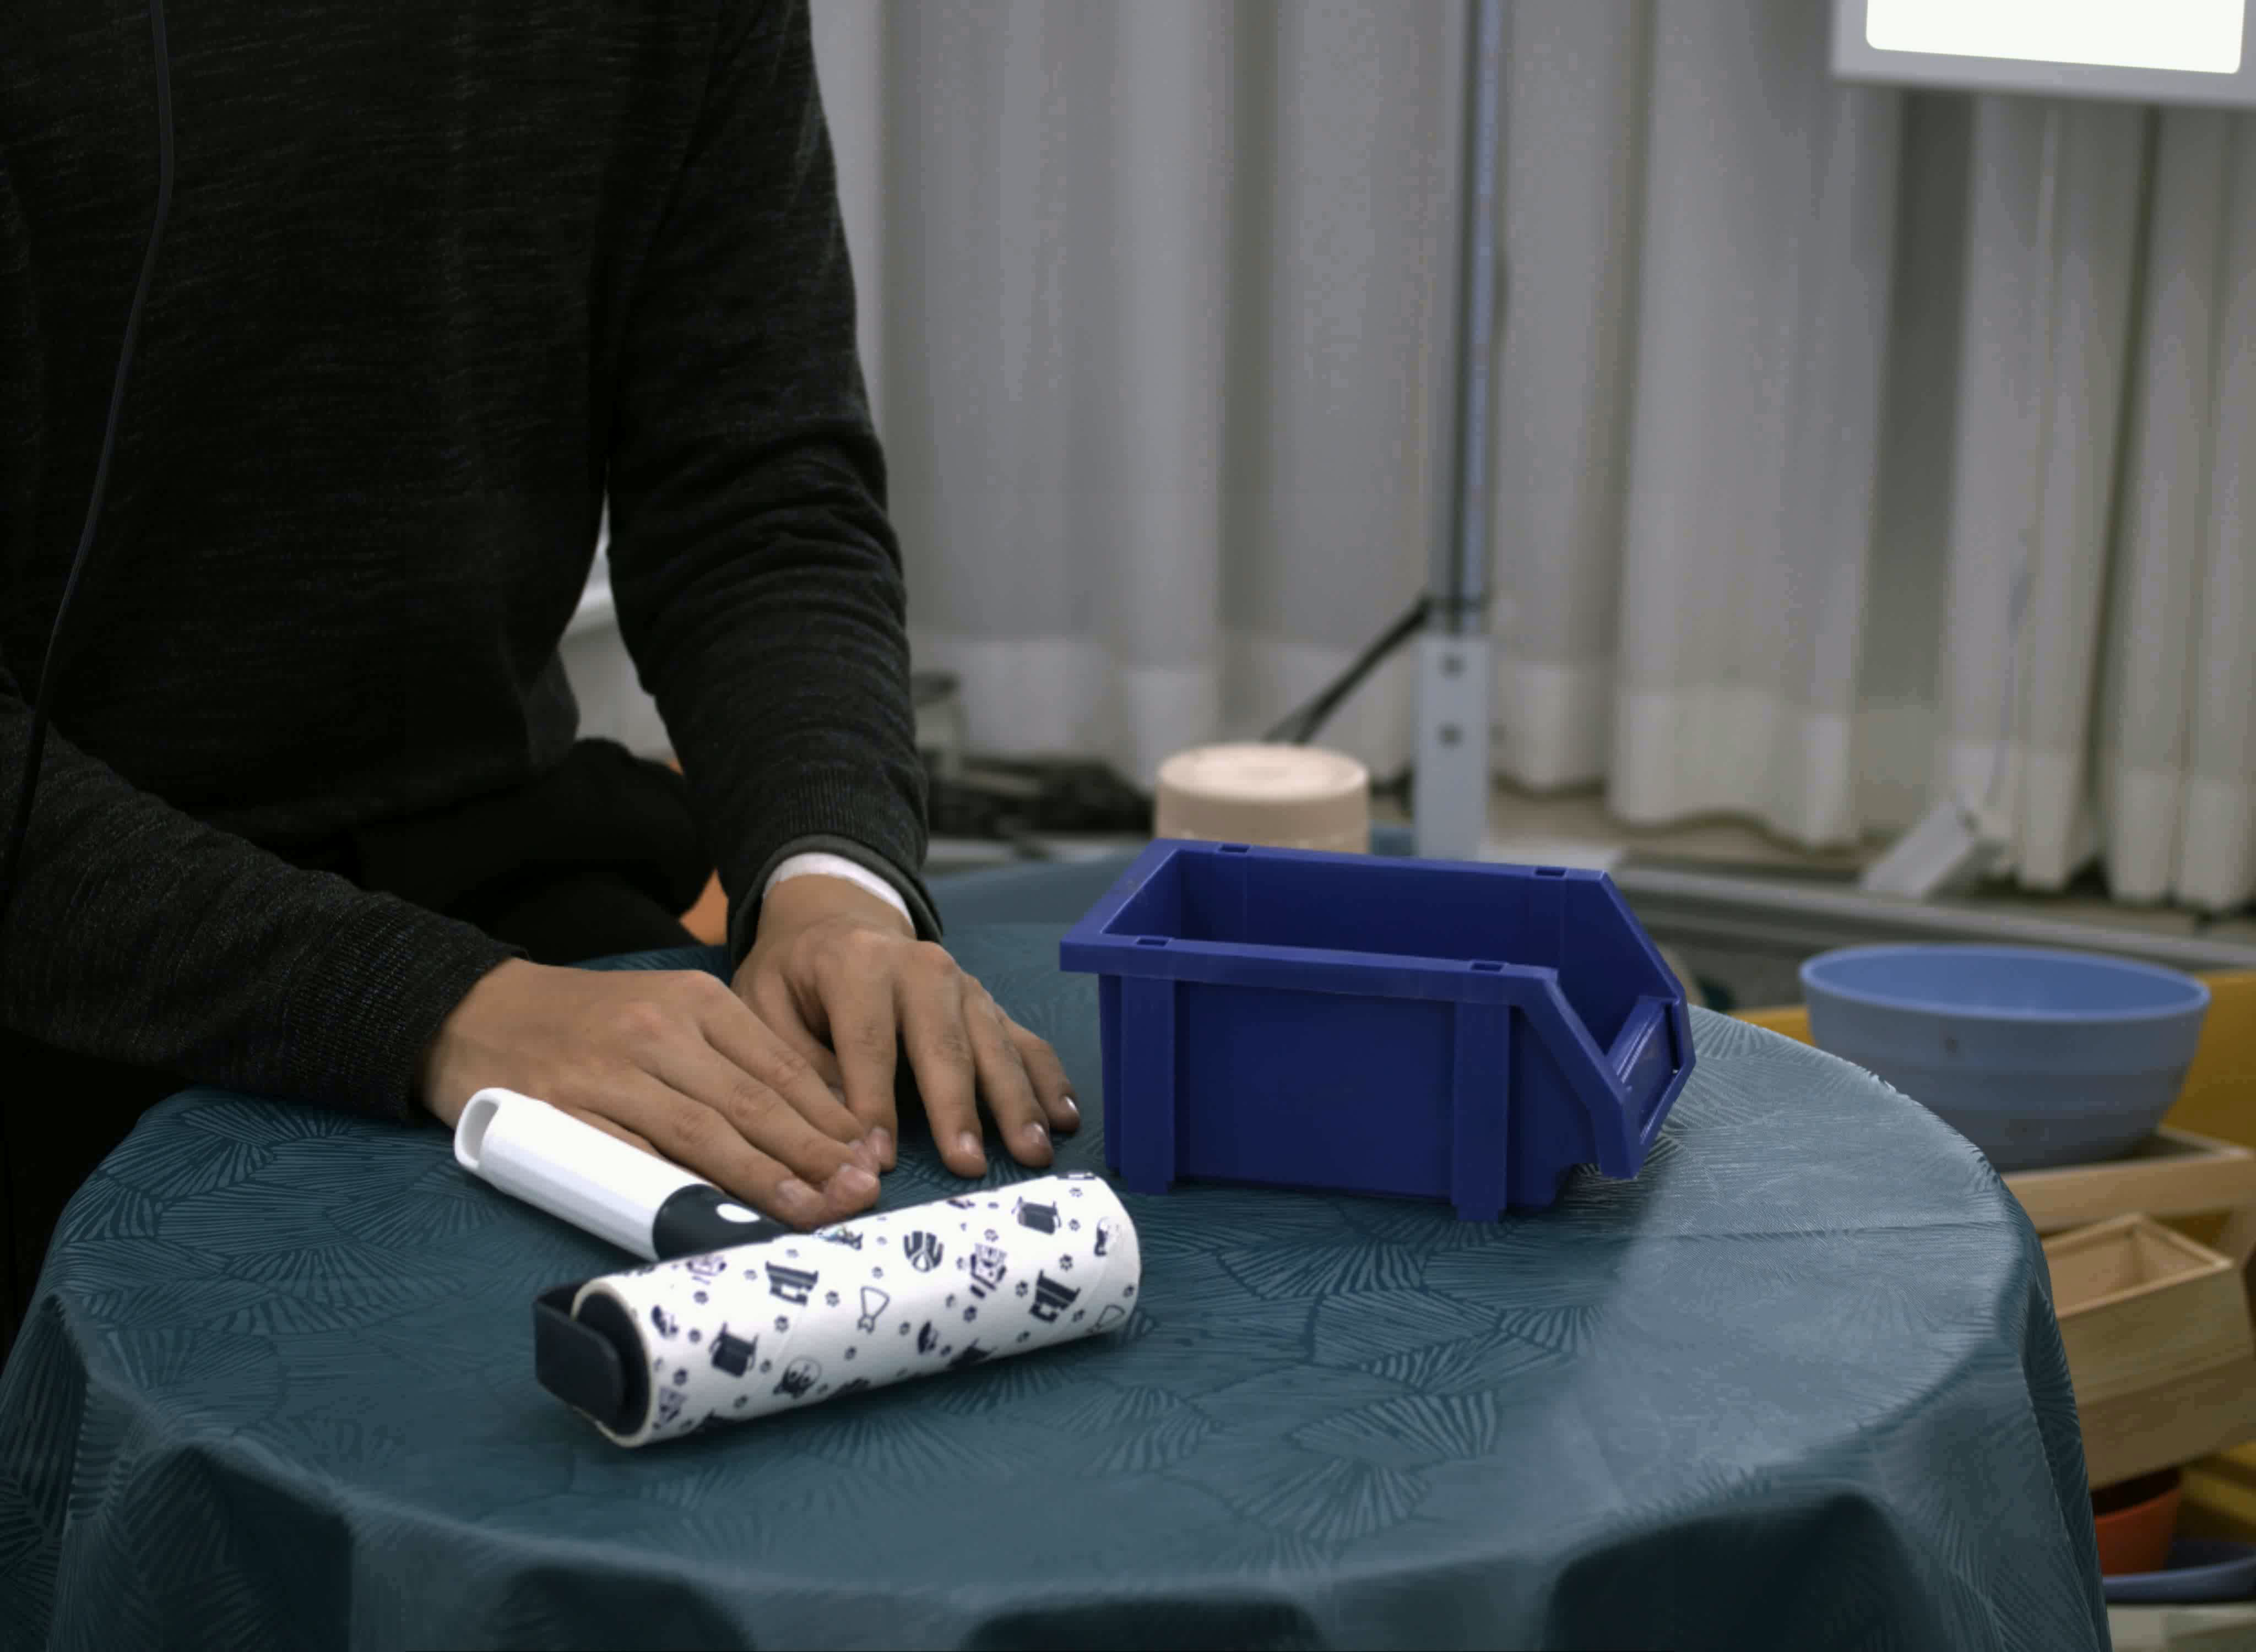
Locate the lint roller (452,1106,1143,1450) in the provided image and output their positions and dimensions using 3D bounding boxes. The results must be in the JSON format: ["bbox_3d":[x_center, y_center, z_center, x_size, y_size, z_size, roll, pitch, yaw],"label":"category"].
[{"bbox_3d":[-0.134,0.113,1.534,0.177,0.051,0.244,-12,19,-34],"label":"lint roller"}]

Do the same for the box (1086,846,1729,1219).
[{"bbox_3d":[0.090,0.063,1.649,0.178,0.082,0.124,2,15,15],"label":"box"}]
